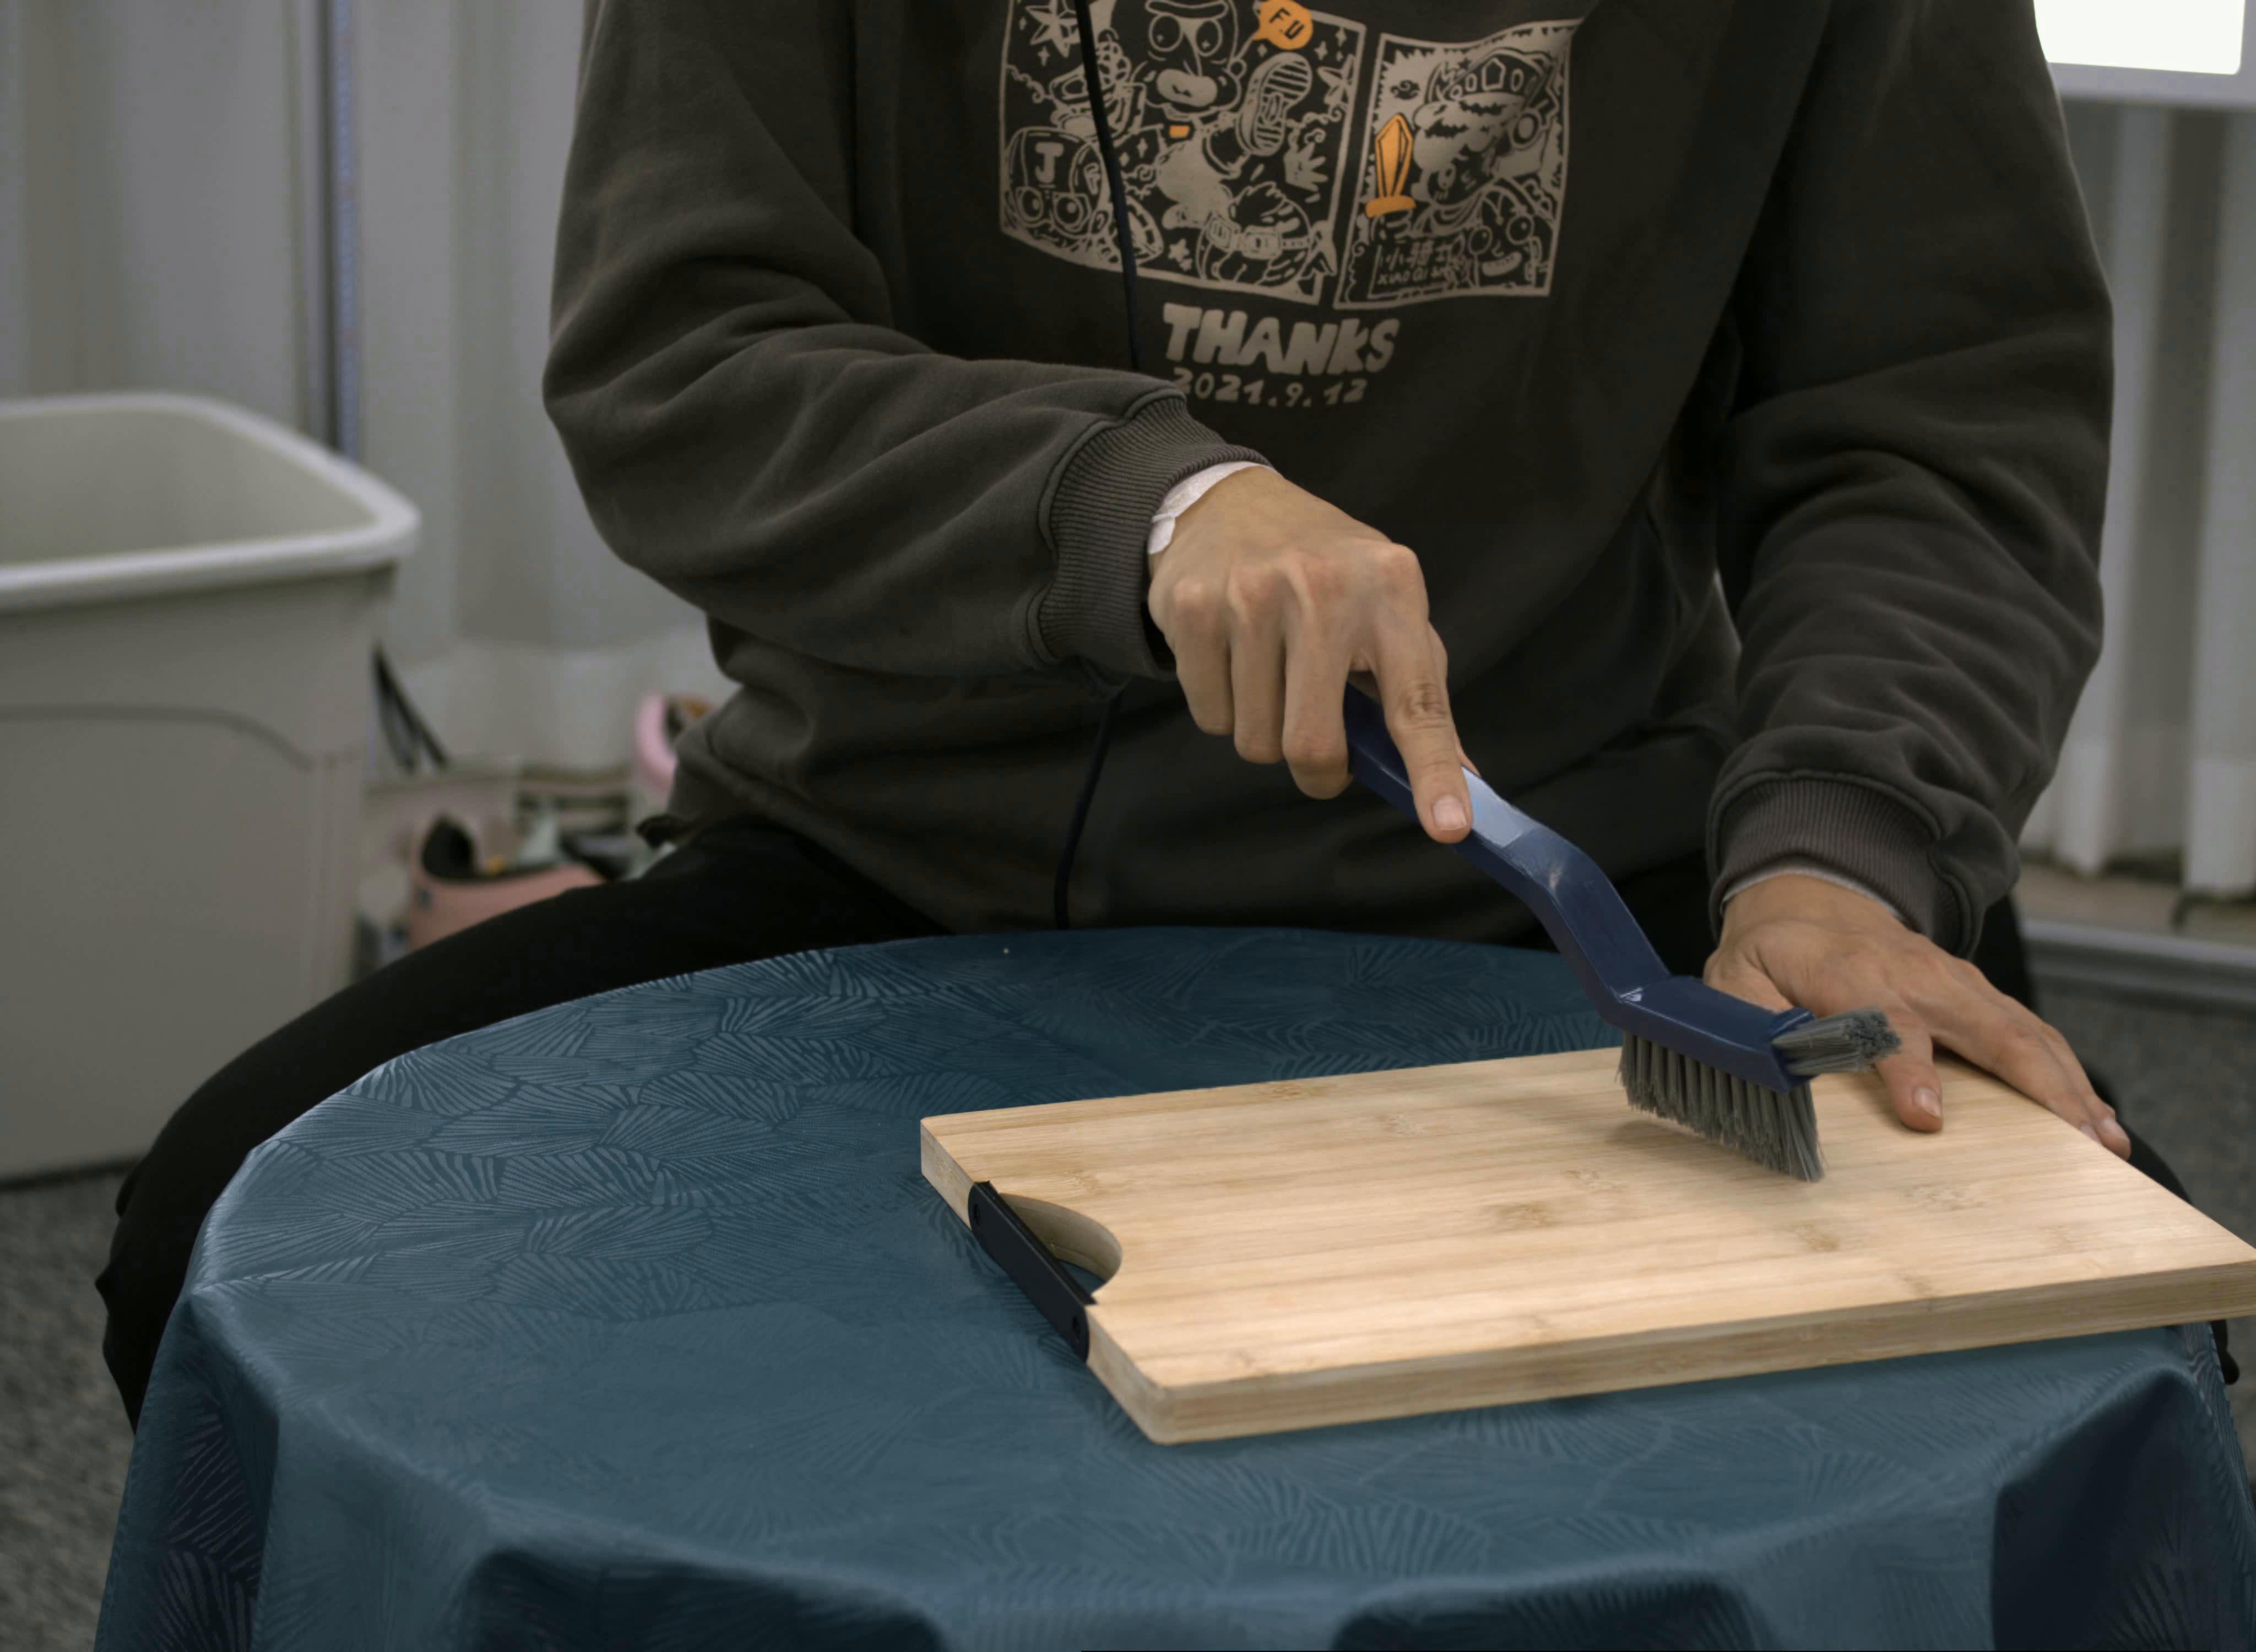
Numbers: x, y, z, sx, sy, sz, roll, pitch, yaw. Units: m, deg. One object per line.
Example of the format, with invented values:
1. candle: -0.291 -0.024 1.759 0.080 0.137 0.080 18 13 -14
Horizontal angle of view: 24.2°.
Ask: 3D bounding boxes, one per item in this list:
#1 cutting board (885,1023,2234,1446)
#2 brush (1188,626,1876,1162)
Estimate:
1. cutting board: 0.125 0.118 1.586 0.349 0.024 0.248 -5 16 -19
2. brush: 0.122 0.005 1.638 0.033 0.096 0.270 -28 59 -34
